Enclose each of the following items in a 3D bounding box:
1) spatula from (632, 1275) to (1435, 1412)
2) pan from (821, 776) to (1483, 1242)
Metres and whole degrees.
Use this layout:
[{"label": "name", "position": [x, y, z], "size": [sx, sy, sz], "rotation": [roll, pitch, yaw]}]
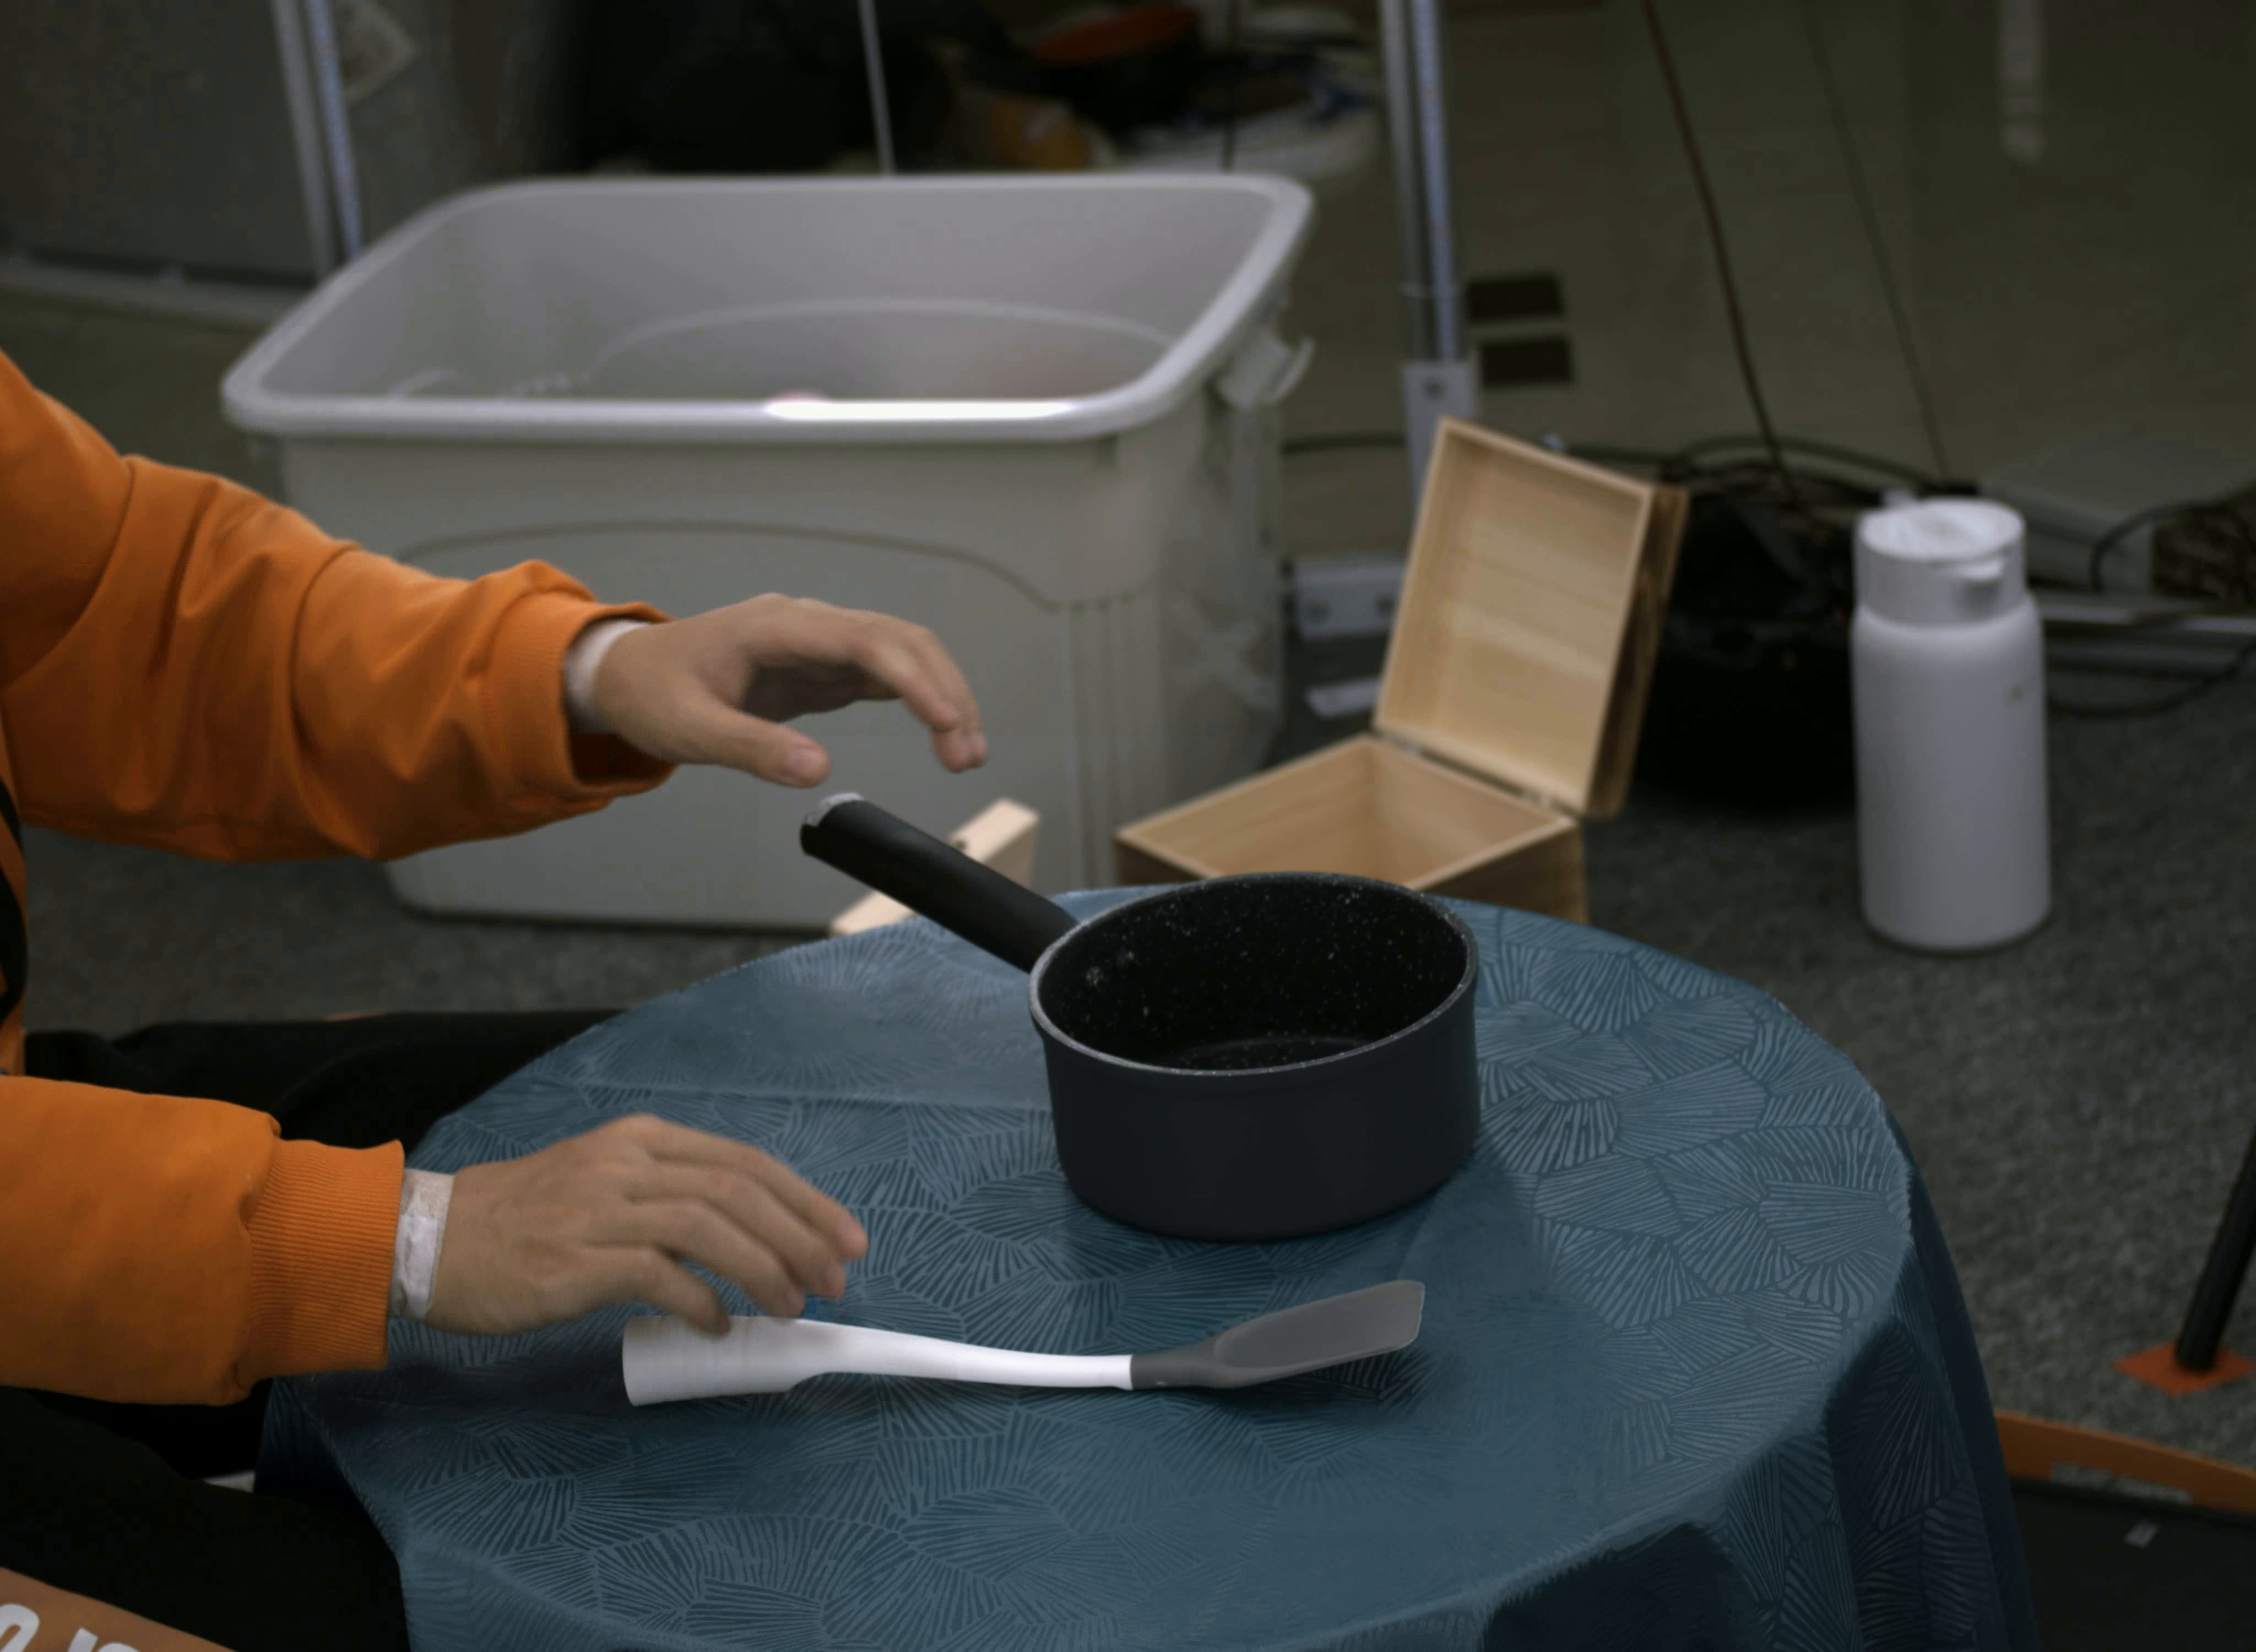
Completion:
[{"label": "spatula", "position": [-0.033, 0.186, 2.016], "size": [0.287, 0.032, 0.058], "rotation": [-3, 19, 8]}, {"label": "pan", "position": [-0.003, 0.065, 2.205], "size": [0.170, 0.088, 0.326], "rotation": [-25, 33, -36]}]
